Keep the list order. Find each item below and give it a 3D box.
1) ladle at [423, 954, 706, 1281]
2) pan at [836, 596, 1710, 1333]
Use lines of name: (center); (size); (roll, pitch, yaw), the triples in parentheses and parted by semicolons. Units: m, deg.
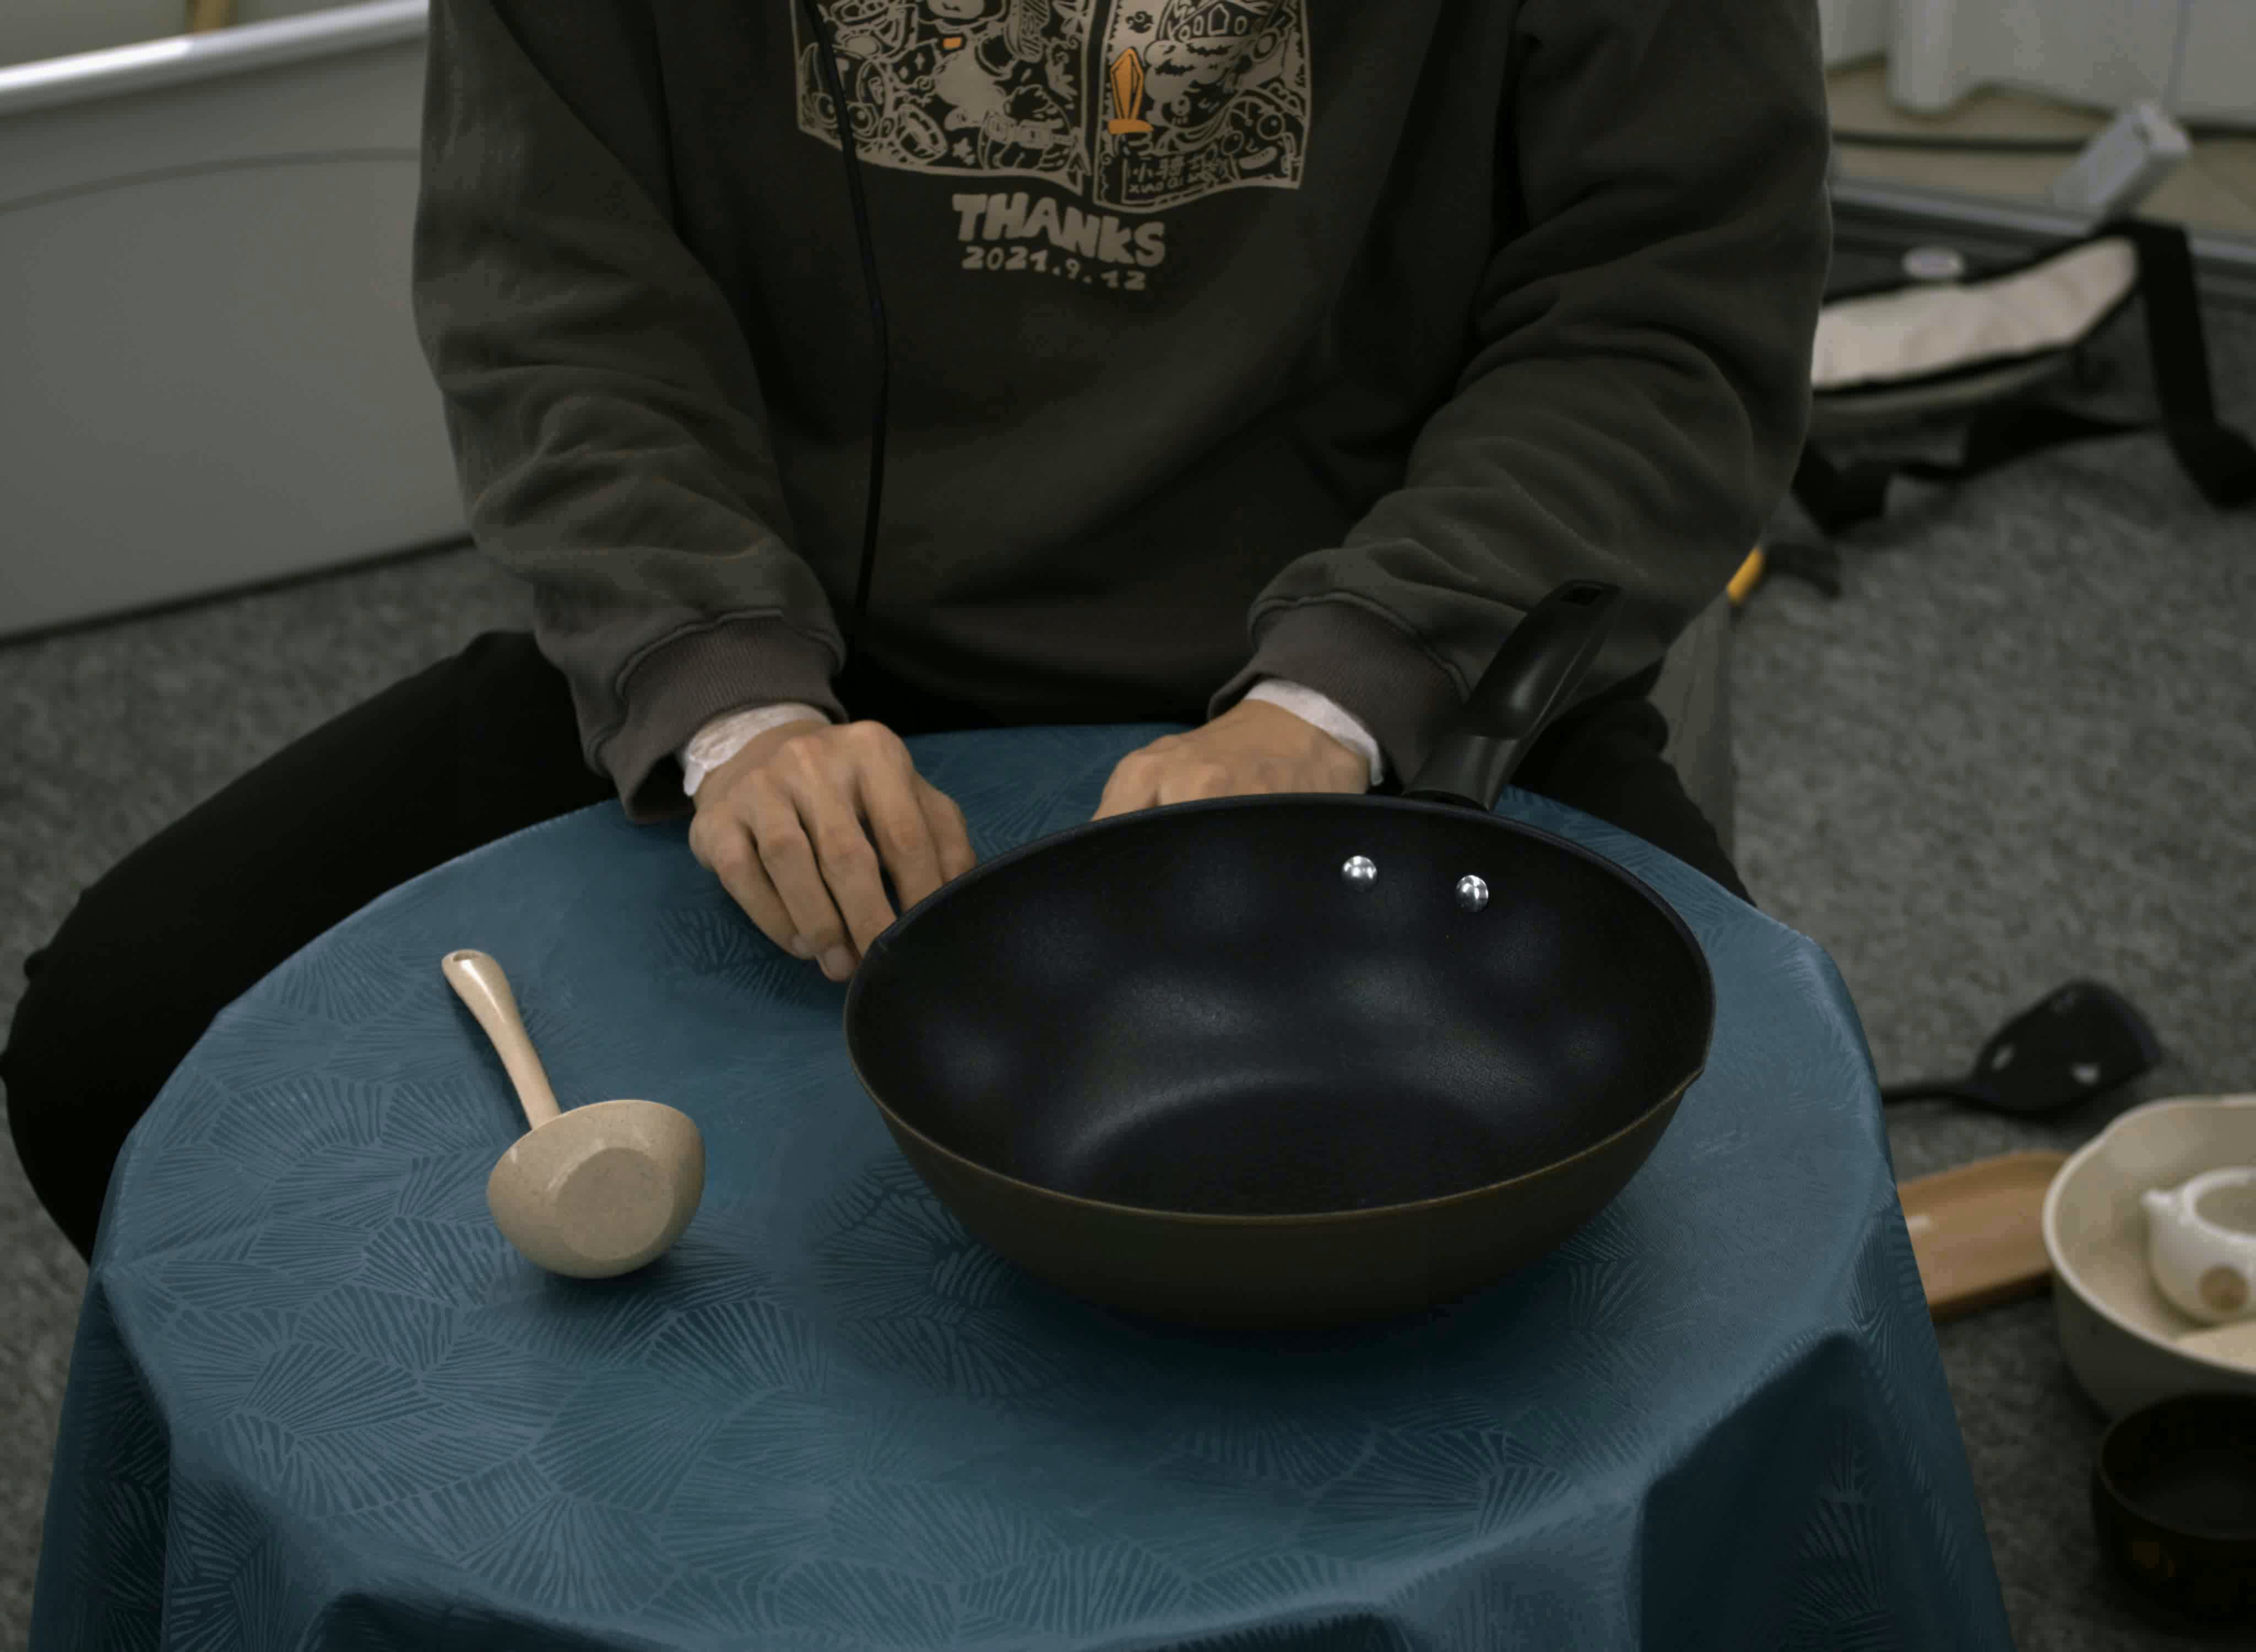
ladle: (-0.207, 0.072, 1.900); (0.072, 0.072, 0.256); (-17, 30, -15)
pan: (0.084, 0.047, 1.905); (0.286, 0.086, 0.471); (9, 29, 21)
